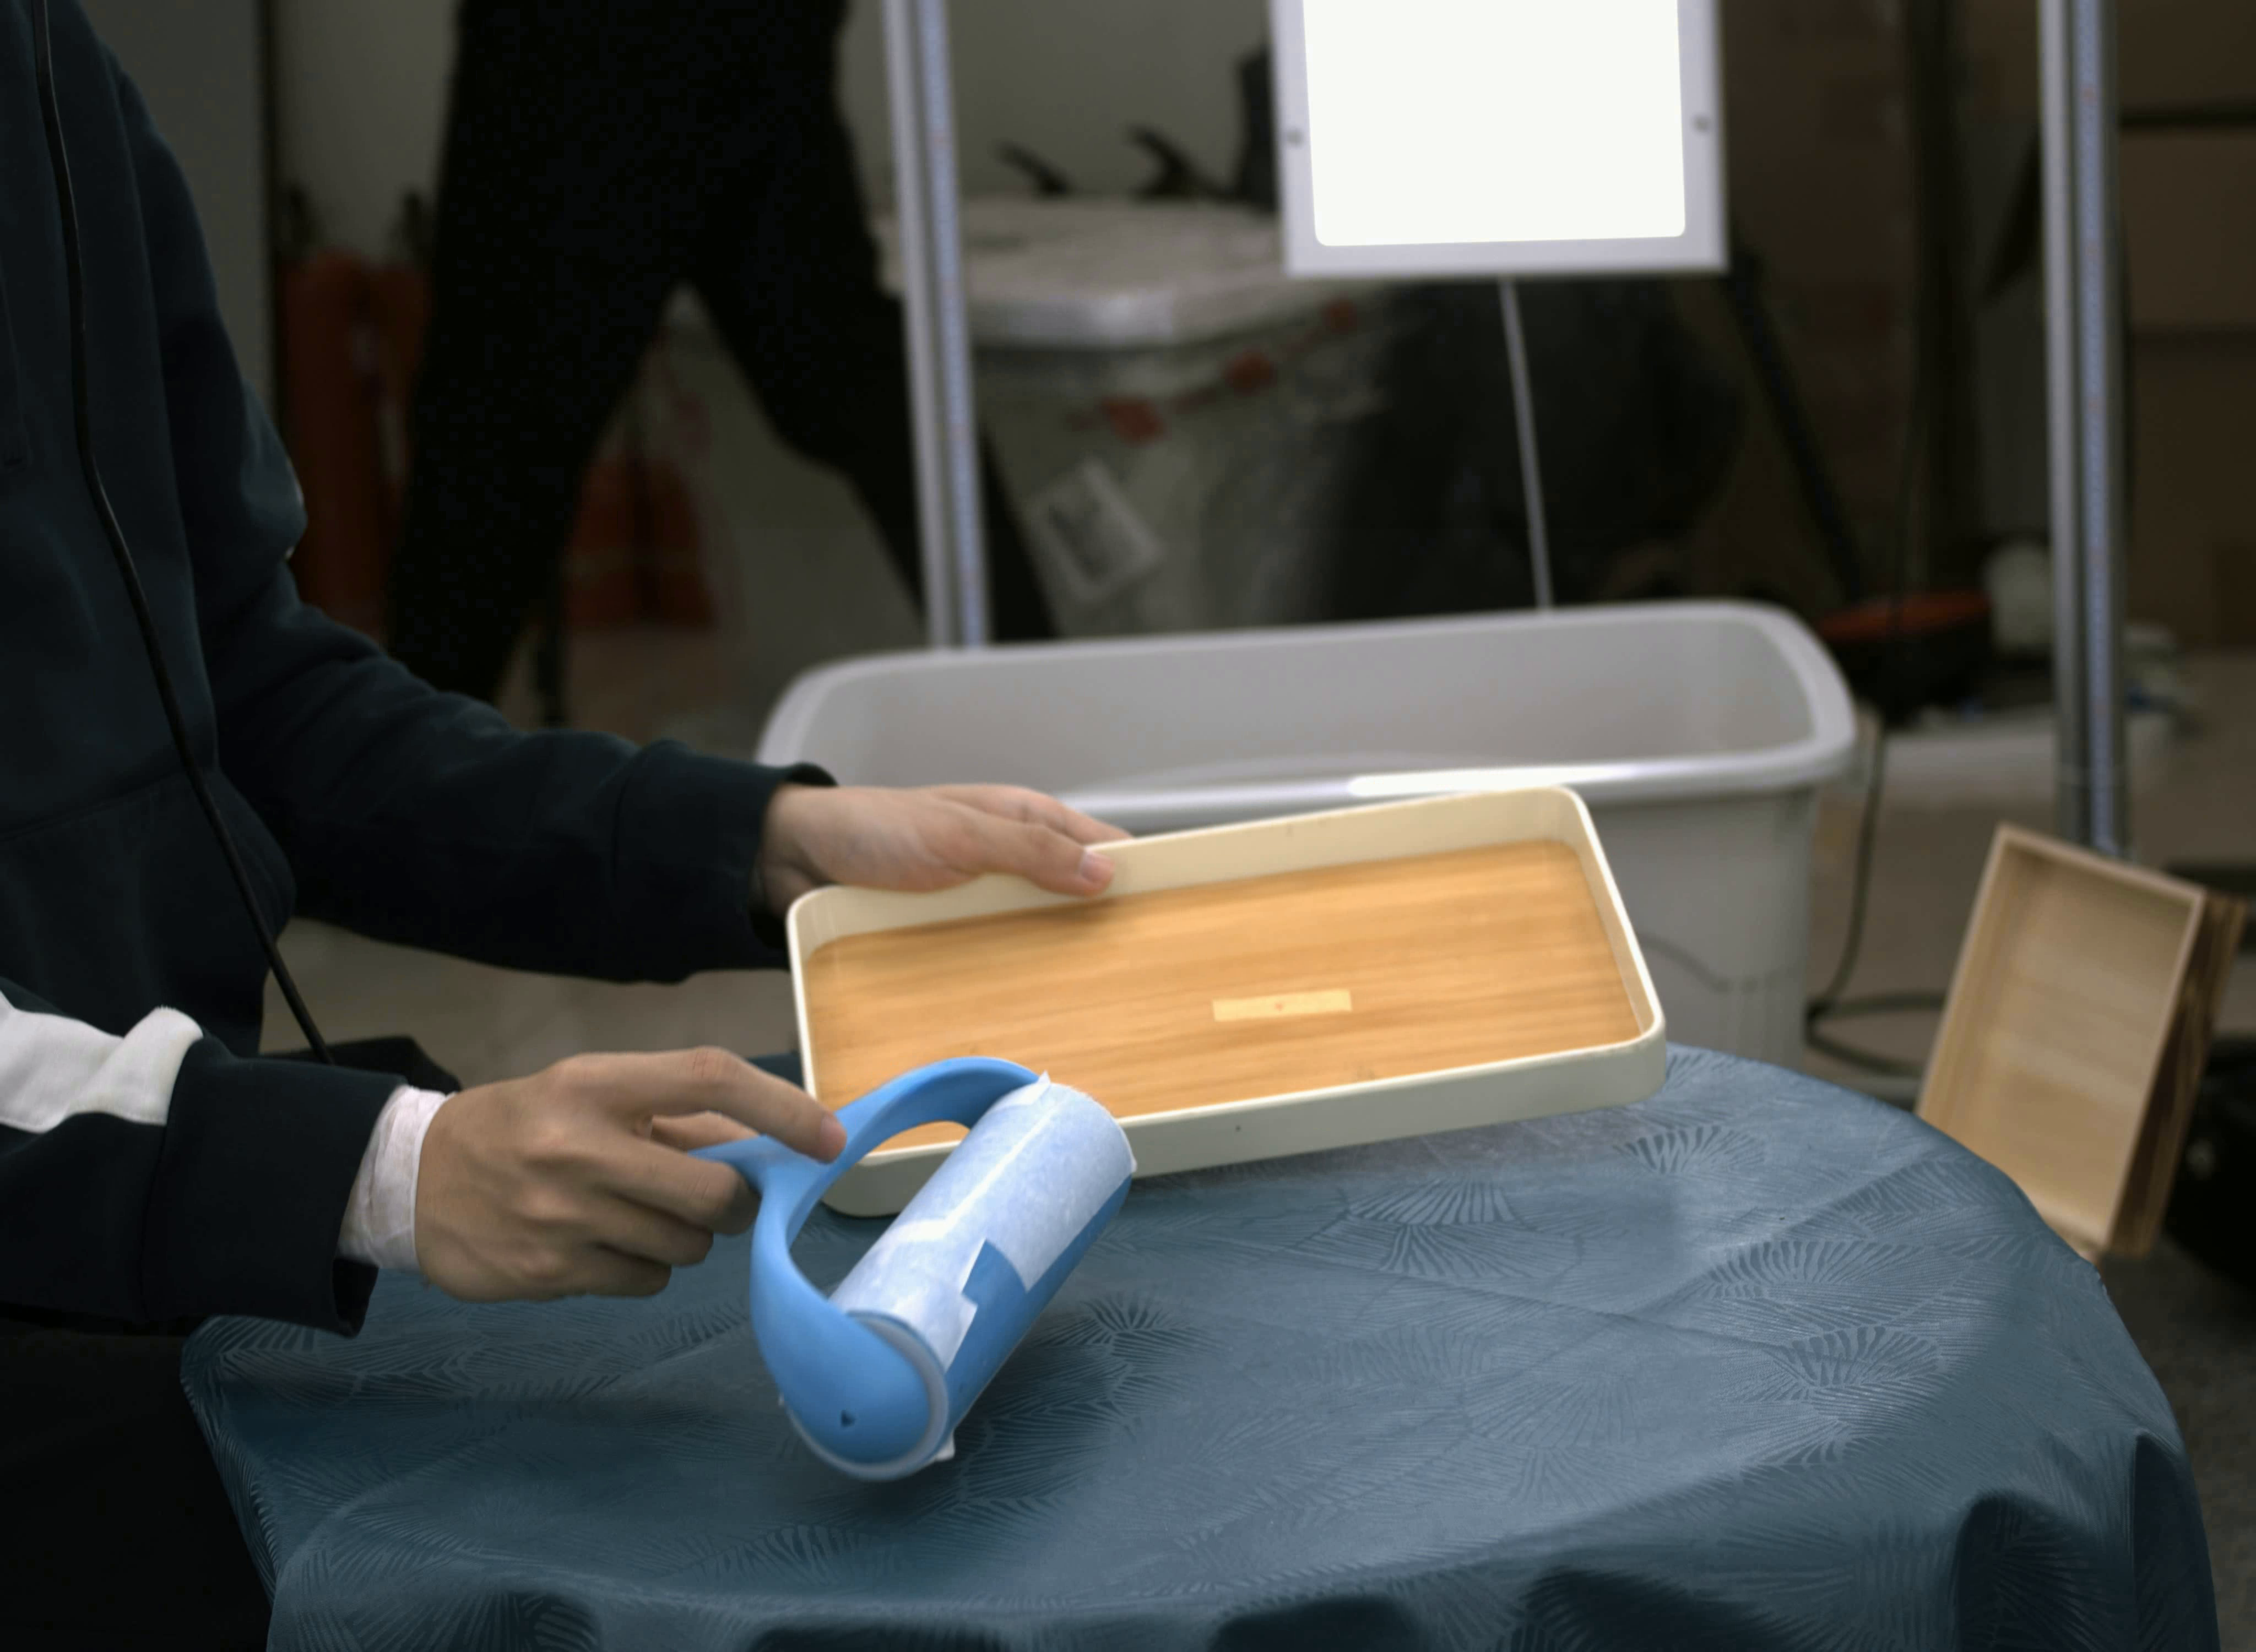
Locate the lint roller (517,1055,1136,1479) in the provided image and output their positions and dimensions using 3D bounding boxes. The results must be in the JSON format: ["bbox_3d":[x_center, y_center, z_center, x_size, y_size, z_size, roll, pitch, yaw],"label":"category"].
[{"bbox_3d":[-0.104,0.129,1.706,0.181,0.068,0.226,6,21,11],"label":"lint roller"}]

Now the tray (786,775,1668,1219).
[{"bbox_3d":[0.031,0.059,1.963,0.299,0.027,0.191,-9,30,0],"label":"tray"}]
